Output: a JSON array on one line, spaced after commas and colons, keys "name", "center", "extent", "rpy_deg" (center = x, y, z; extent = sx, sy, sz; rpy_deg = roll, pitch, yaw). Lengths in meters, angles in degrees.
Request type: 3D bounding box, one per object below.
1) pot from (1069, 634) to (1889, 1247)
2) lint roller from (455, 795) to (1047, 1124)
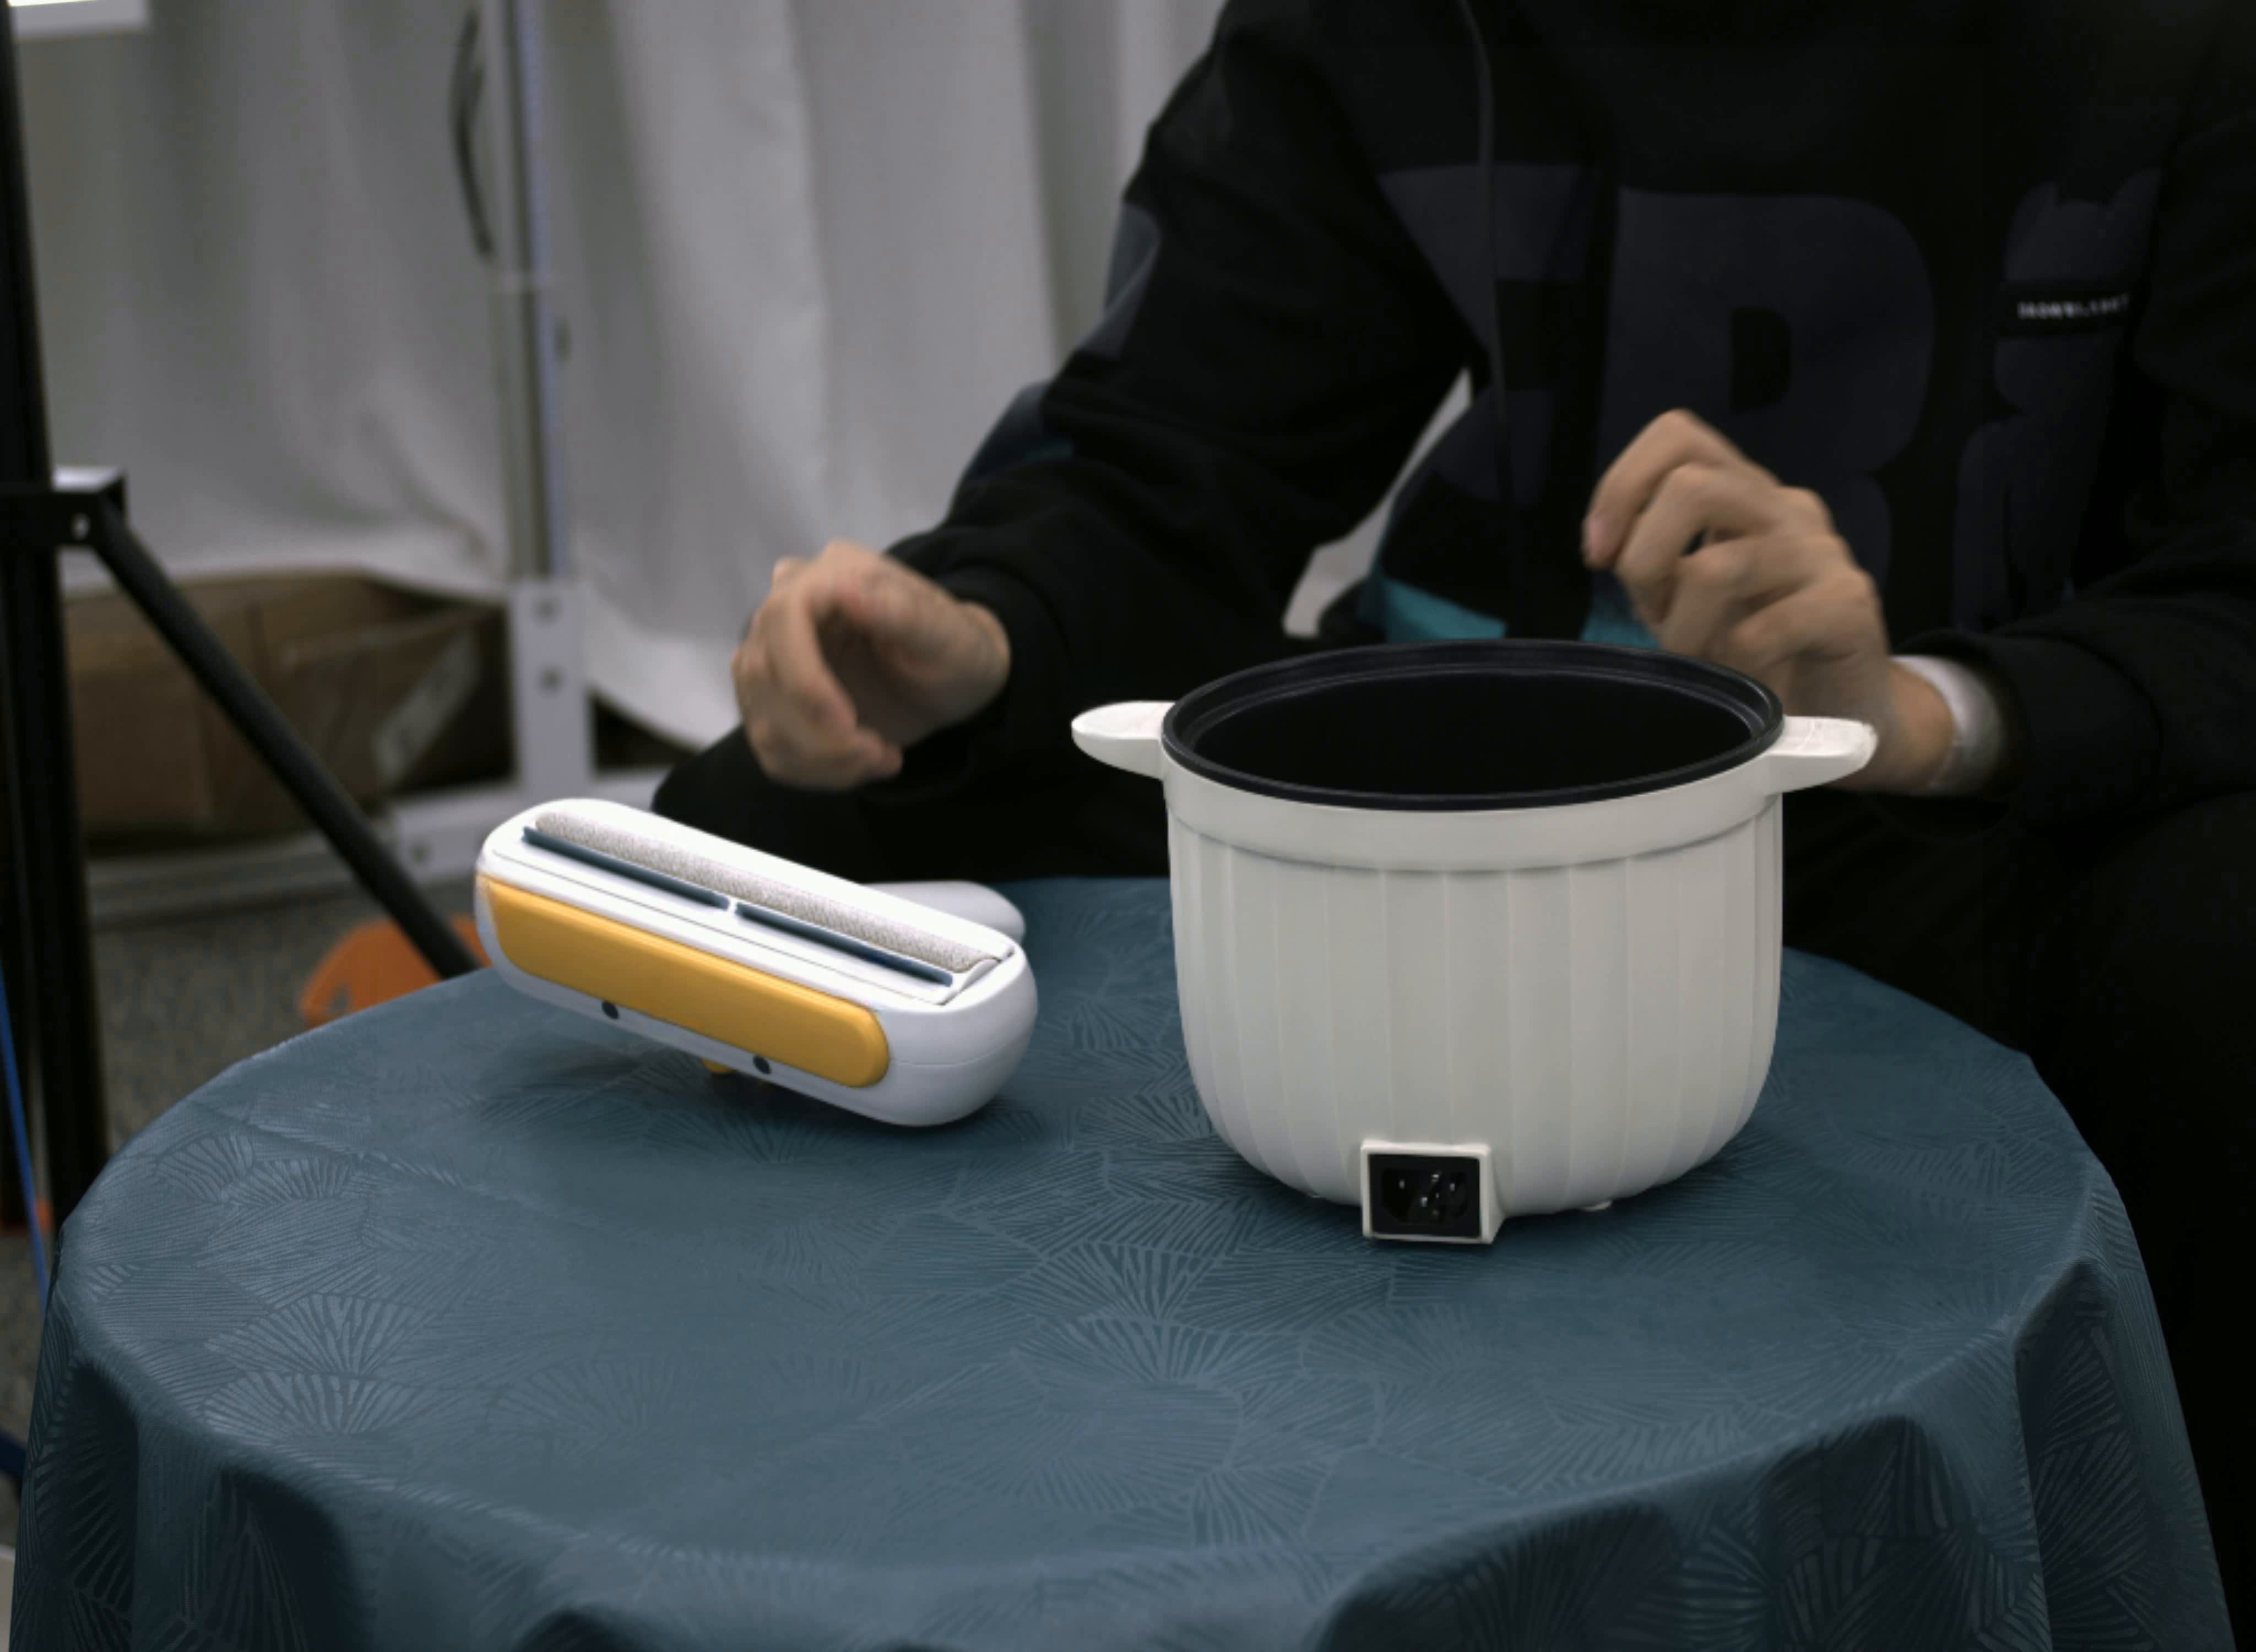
[{"name": "pot", "center": [0.102, 0.030, 1.560], "extent": [0.242, 0.142, 0.189], "rpy_deg": [3, 19, 15]}, {"name": "lint roller", "center": [-0.092, 0.034, 1.711], "extent": [0.197, 0.074, 0.188], "rpy_deg": [14, 21, 33]}]
